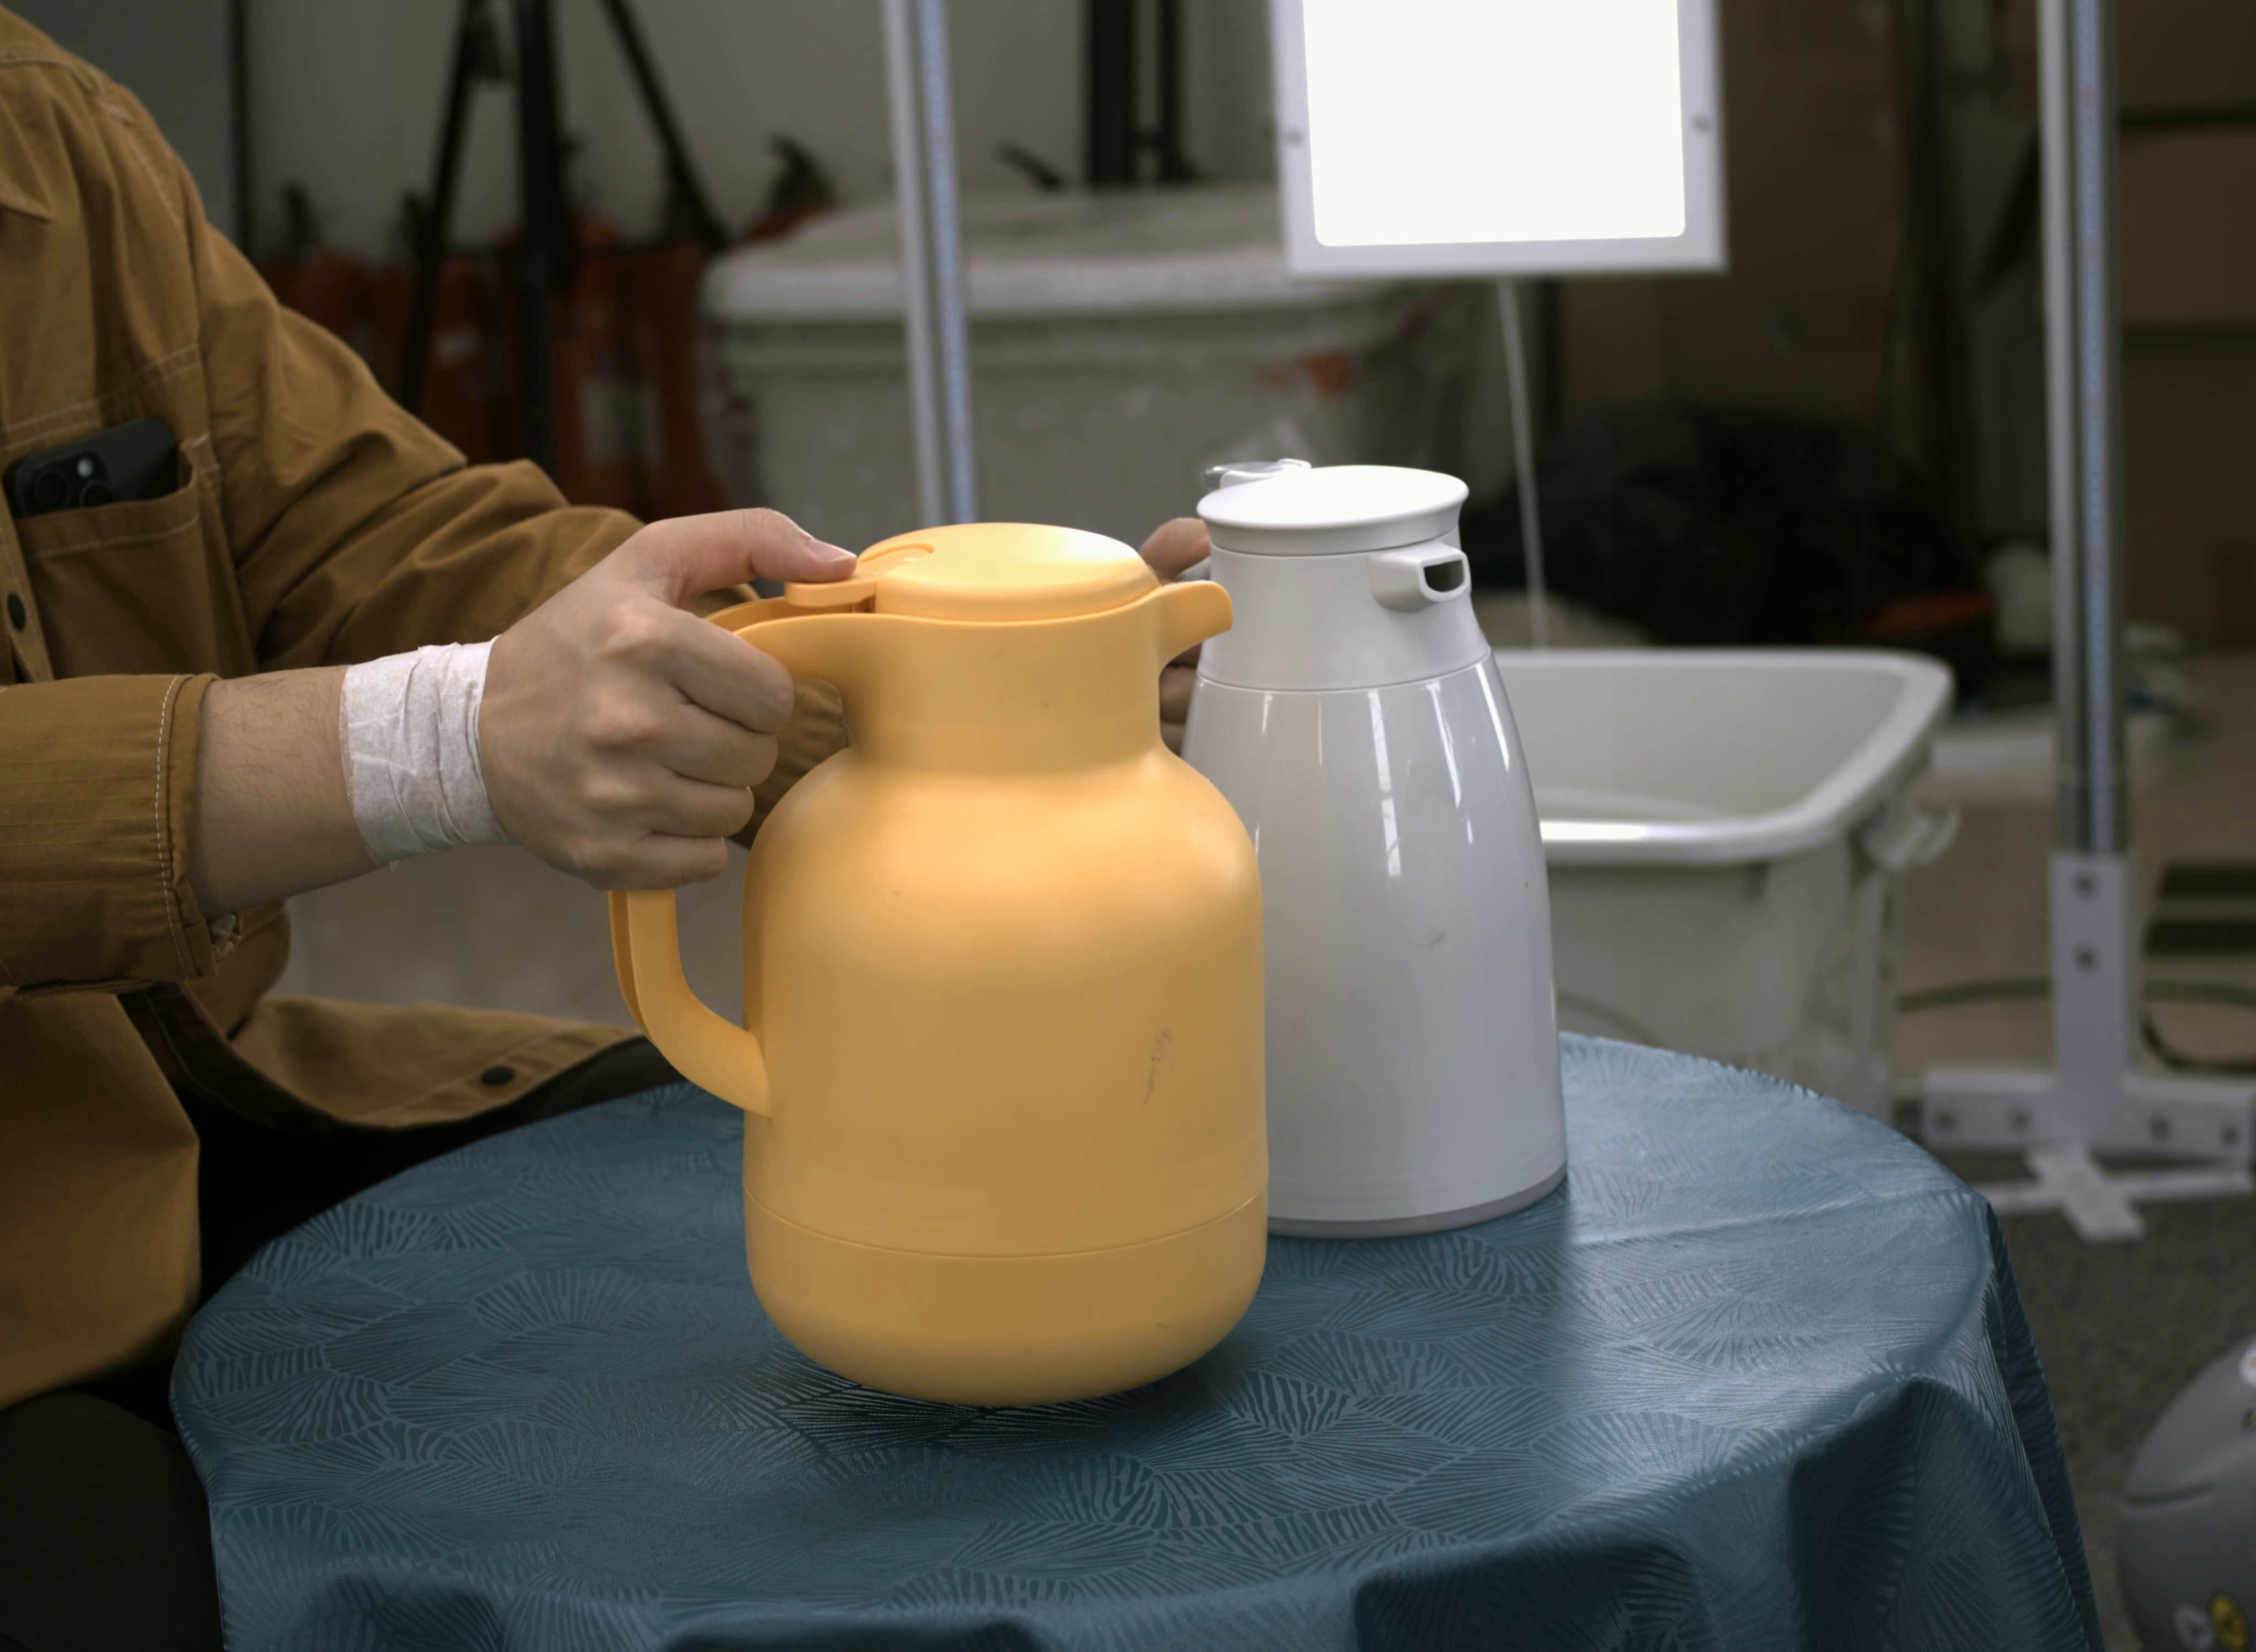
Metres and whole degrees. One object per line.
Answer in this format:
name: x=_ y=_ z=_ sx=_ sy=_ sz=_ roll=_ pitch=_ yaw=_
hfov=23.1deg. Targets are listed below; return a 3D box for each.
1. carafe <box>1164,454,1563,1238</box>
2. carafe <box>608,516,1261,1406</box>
carafe: x=0.064 y=-0.001 z=1.873 sx=0.129 sy=0.249 sz=0.171 roll=-13 pitch=15 yaw=-31
carafe: x=-0.058 y=0.038 z=1.684 sx=0.199 sy=0.261 sz=0.165 roll=-3 pitch=14 yaw=-15
